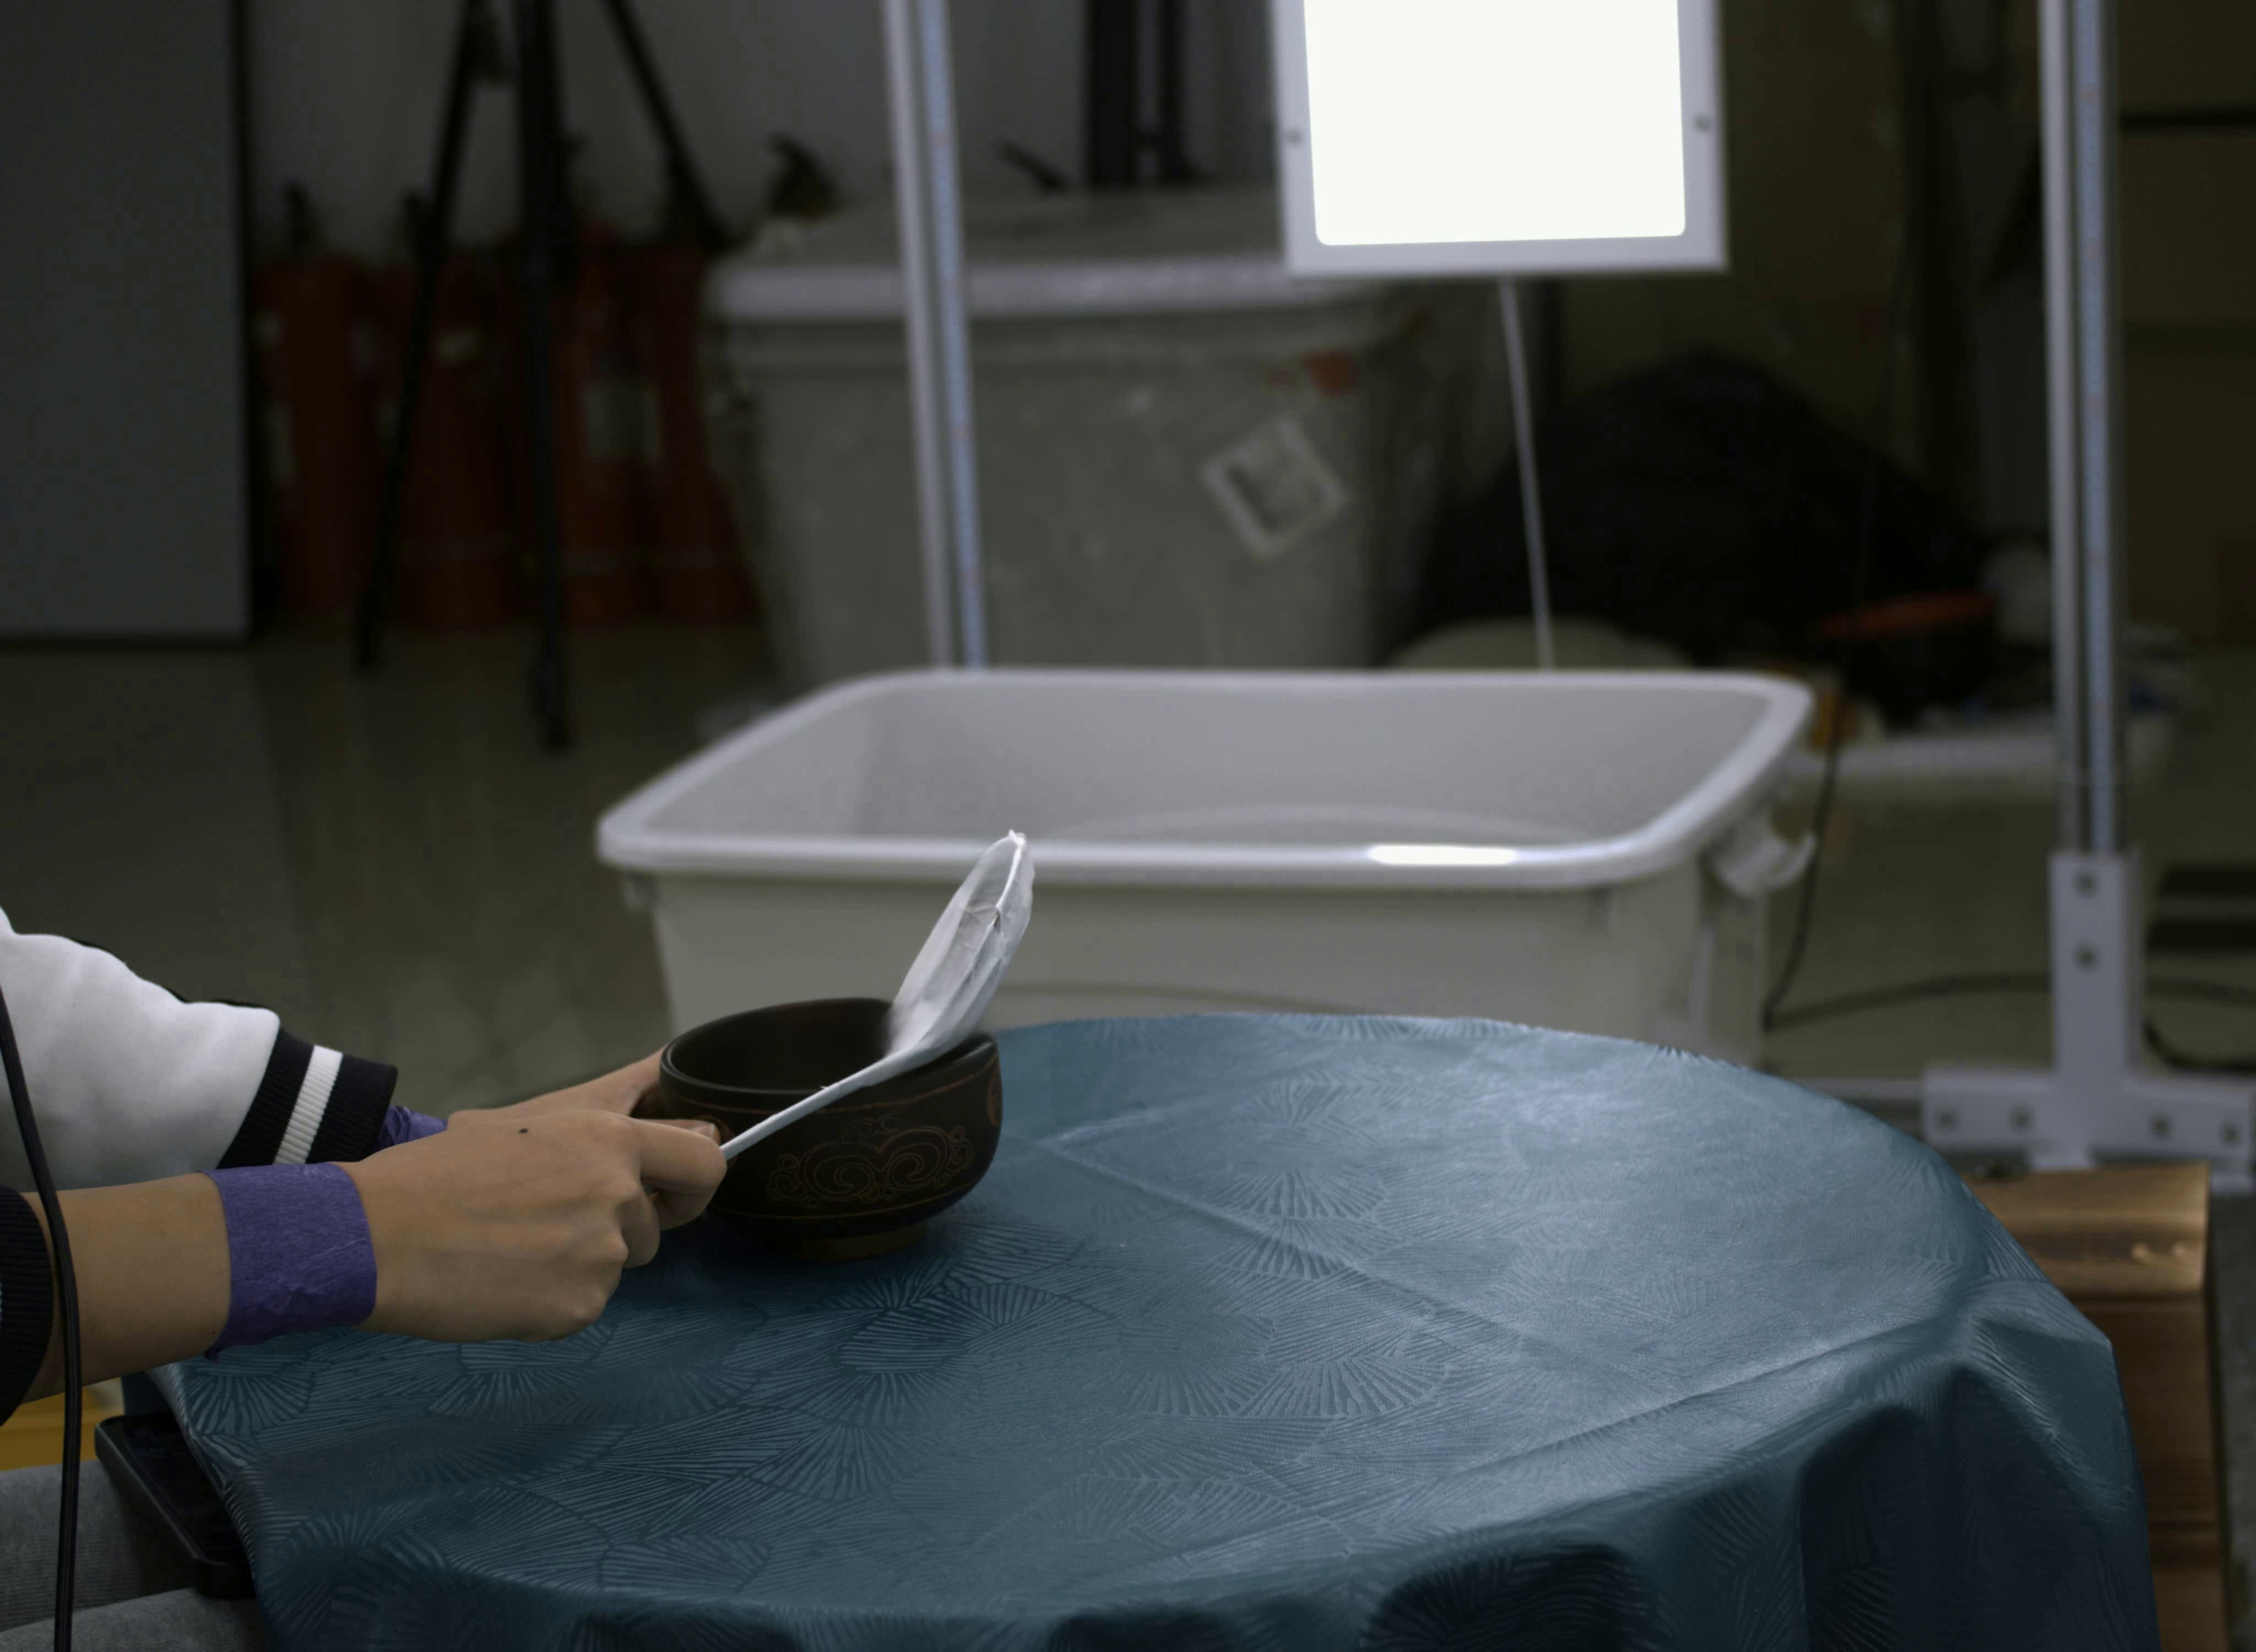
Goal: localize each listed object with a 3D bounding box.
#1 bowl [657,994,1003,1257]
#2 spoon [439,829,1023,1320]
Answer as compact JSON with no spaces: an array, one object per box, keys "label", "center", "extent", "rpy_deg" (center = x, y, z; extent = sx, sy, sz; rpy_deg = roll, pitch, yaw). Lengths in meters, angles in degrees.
[{"label":"bowl","center":[-0.100,0.105,1.870],"extent":[0.118,0.070,0.118],"rpy_deg":[-5,13,0]},{"label":"spoon","center":[-0.131,0.082,1.788],"extent":[0.271,0.060,0.102],"rpy_deg":[-27,-18,-36]}]
